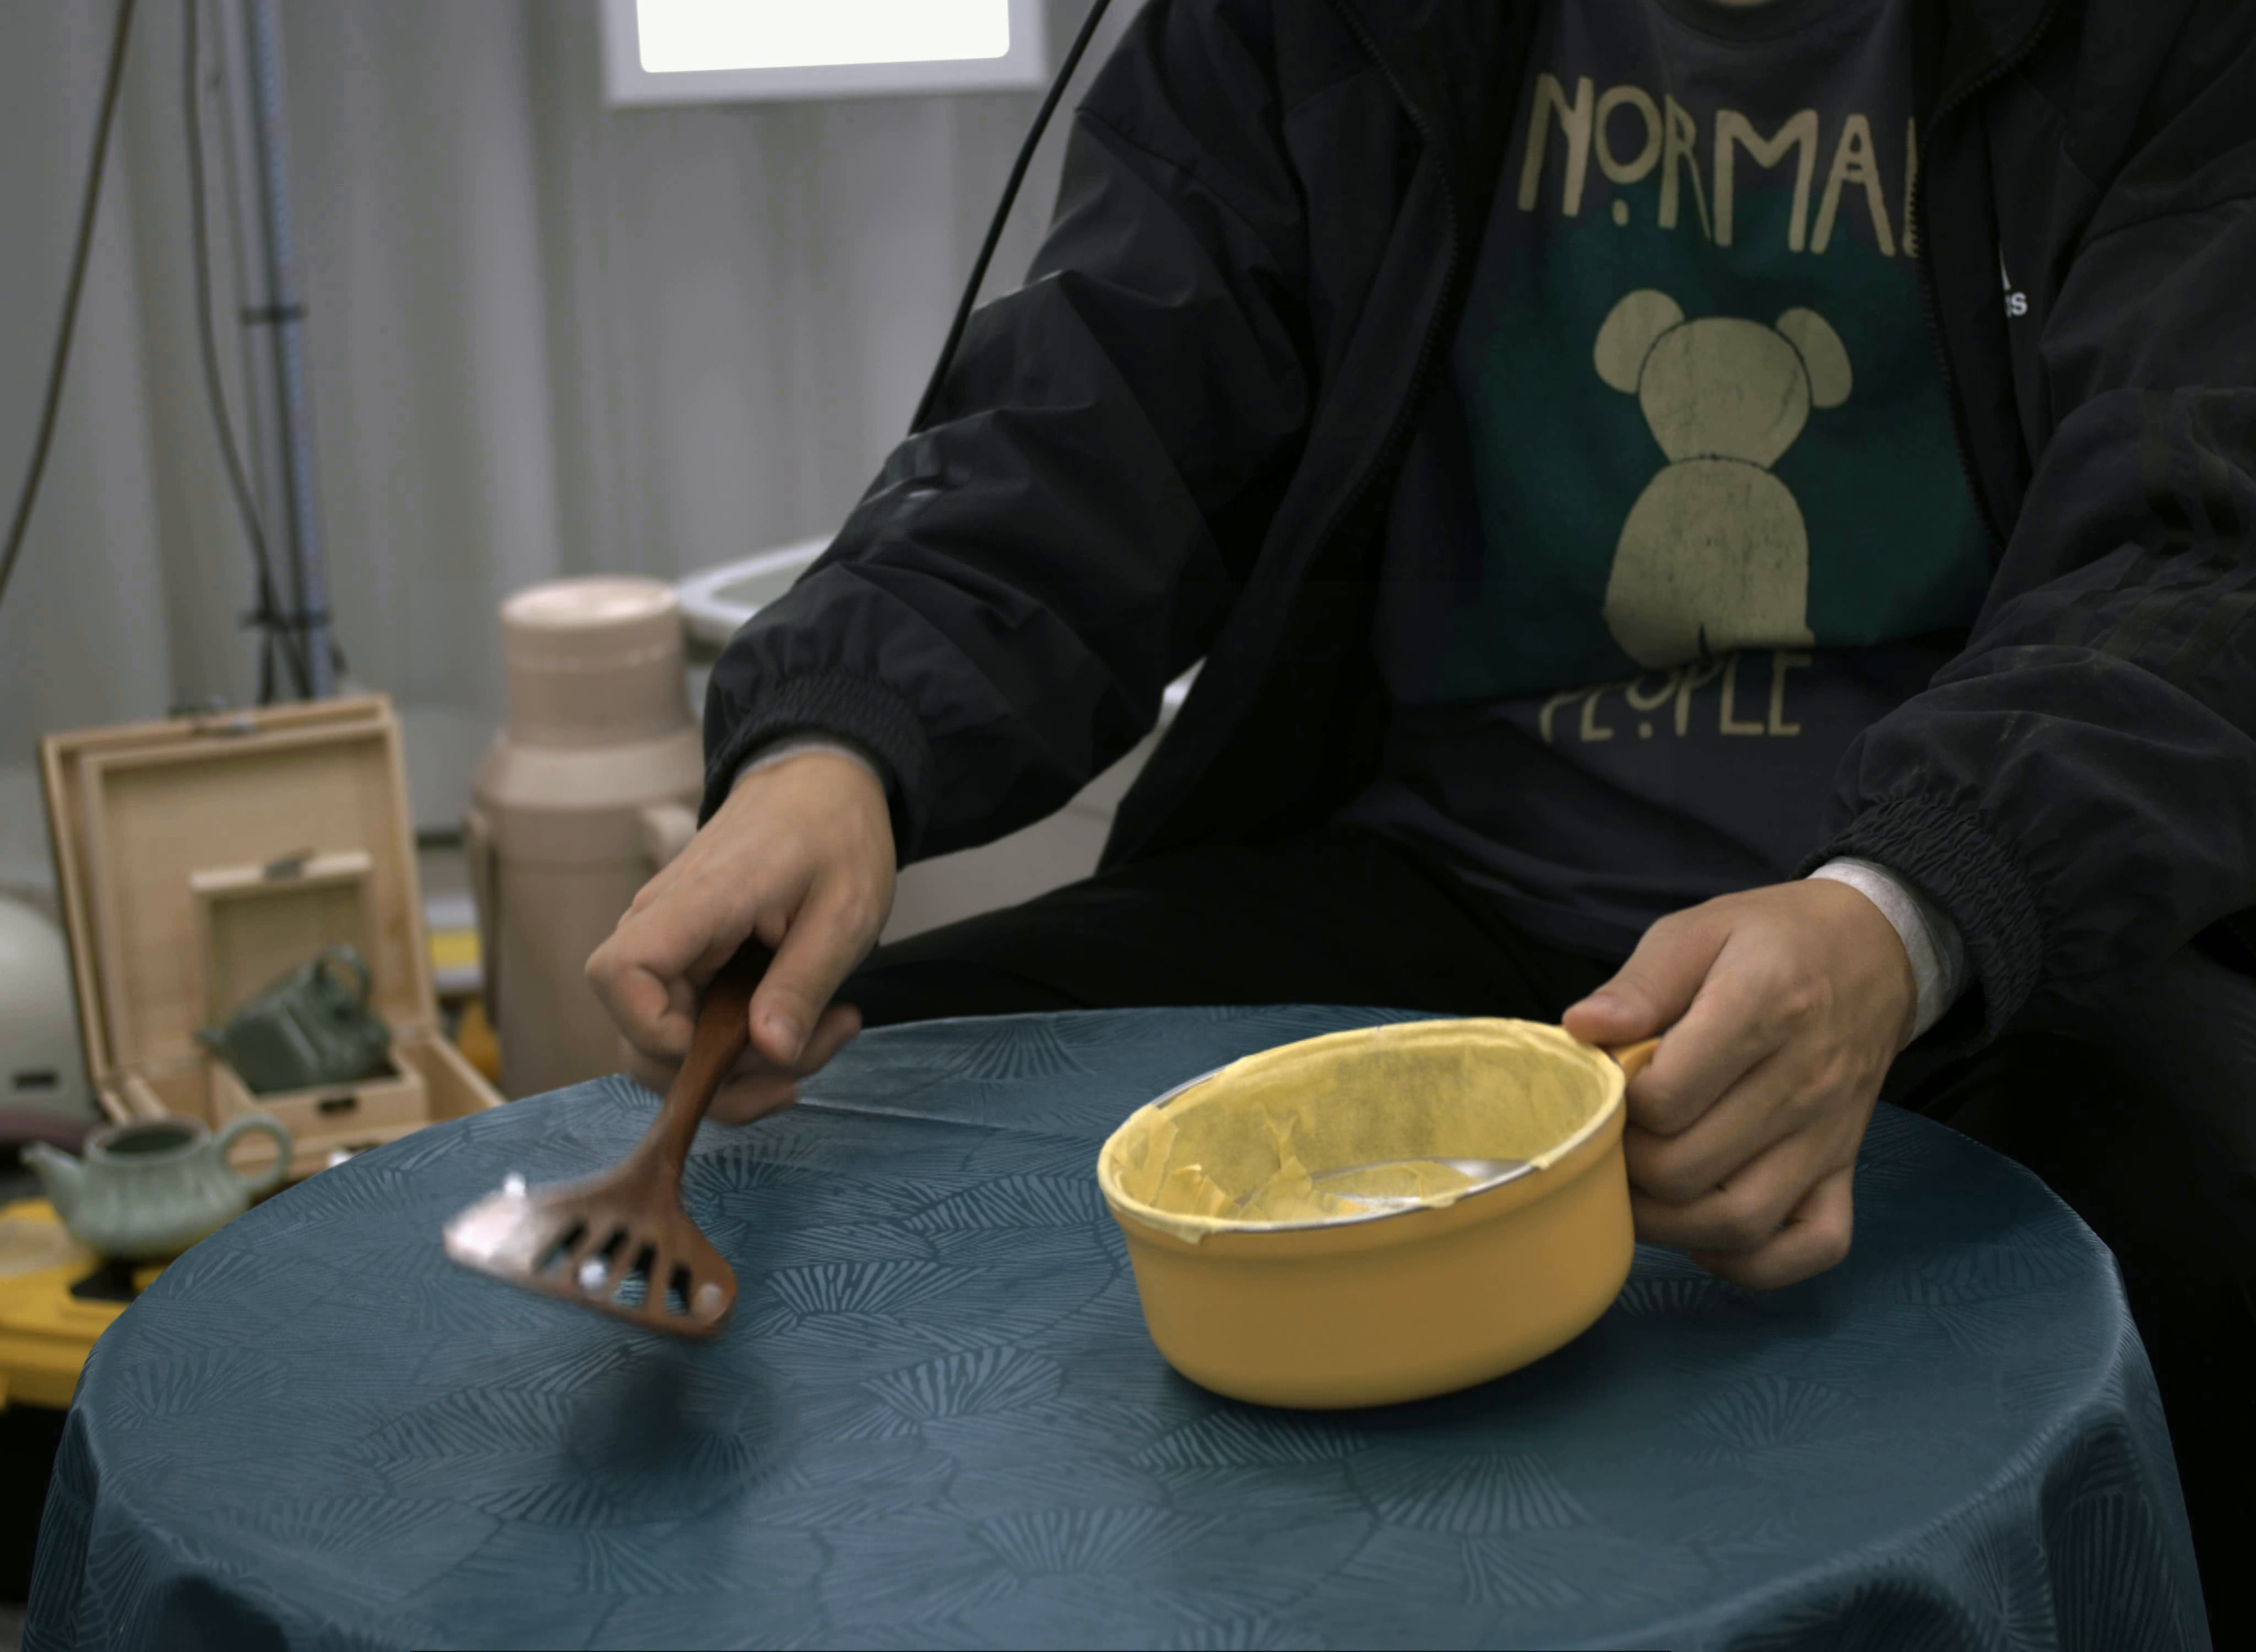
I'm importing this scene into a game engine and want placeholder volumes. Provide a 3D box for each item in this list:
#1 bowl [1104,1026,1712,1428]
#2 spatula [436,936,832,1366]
[{"bbox_3d":[0.086,0.113,1.559,0.179,0.074,0.154,-20,19,-27],"label":"bowl"},{"bbox_3d":[-0.133,0.095,1.672,0.085,0.024,0.389,15,17,2],"label":"spatula"}]
